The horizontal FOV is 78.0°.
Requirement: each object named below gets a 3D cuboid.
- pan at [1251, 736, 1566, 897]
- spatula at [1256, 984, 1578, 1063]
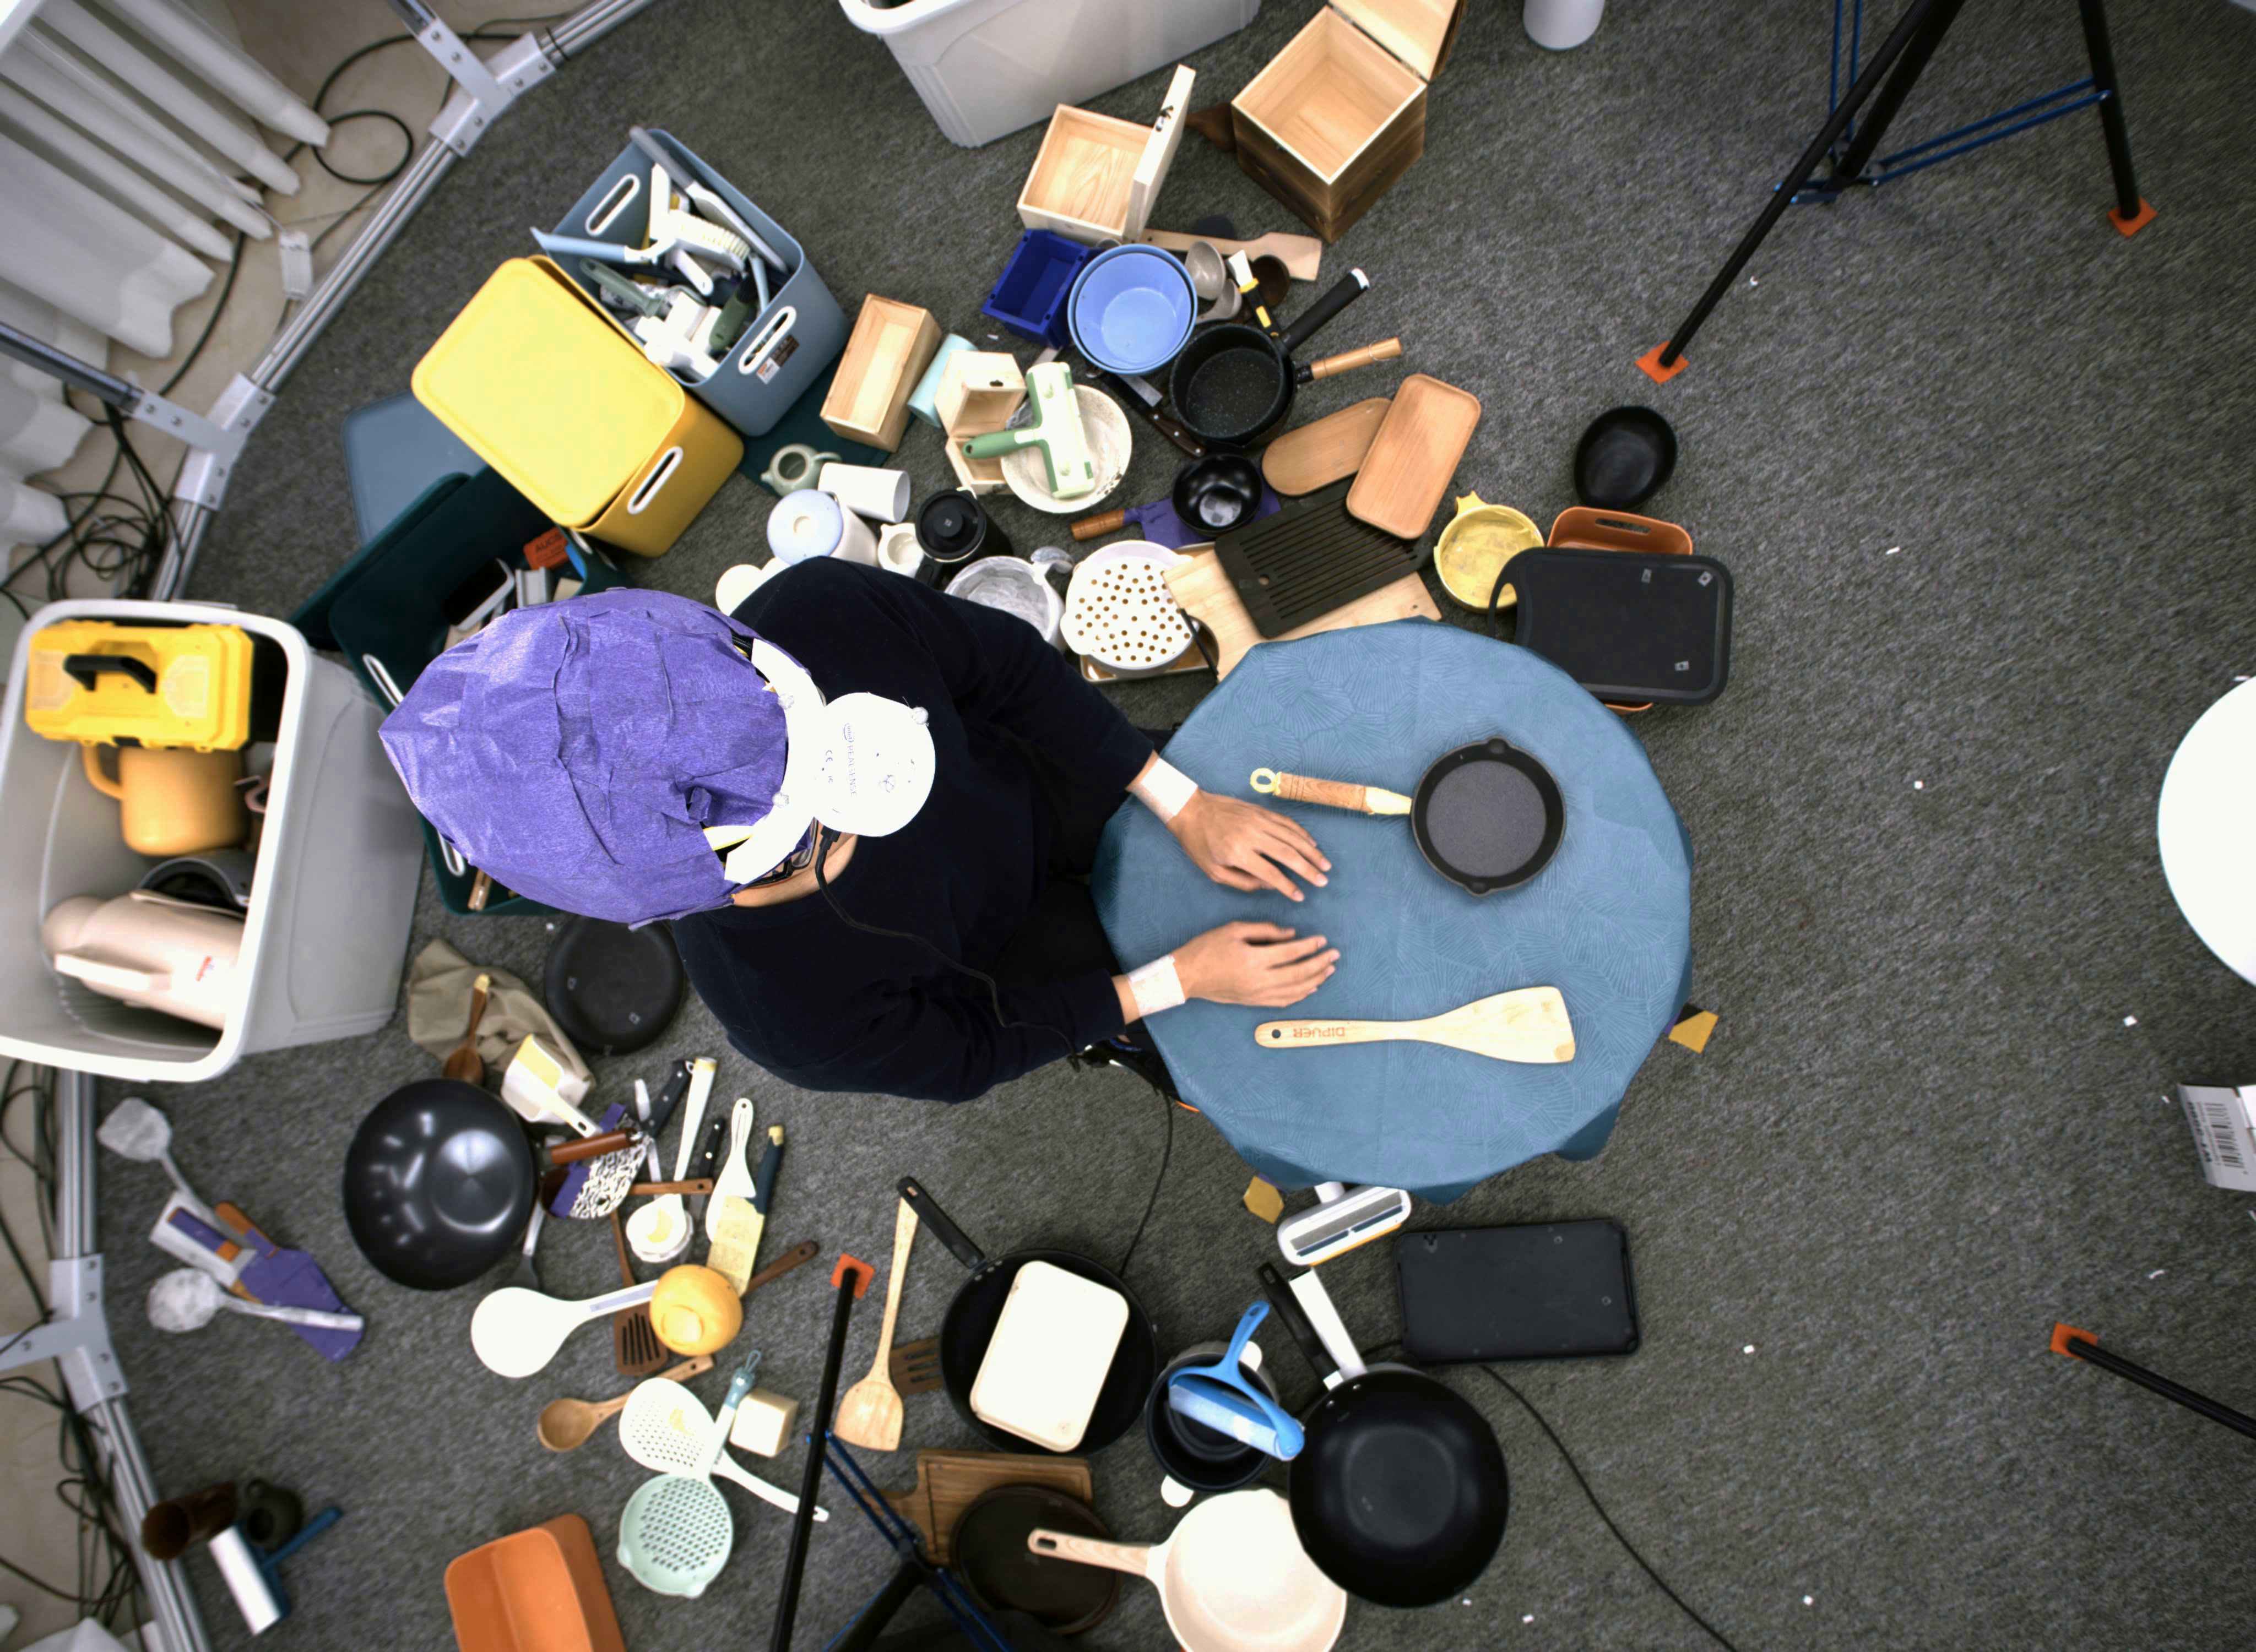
[{"bbox_3d":[0.290,-0.026,1.436,0.325,0.049,0.168,10,89,10],"label":"pan"},{"bbox_3d":[0.297,0.209,1.439,0.329,0.016,0.079,-4,85,10],"label":"spatula"}]
